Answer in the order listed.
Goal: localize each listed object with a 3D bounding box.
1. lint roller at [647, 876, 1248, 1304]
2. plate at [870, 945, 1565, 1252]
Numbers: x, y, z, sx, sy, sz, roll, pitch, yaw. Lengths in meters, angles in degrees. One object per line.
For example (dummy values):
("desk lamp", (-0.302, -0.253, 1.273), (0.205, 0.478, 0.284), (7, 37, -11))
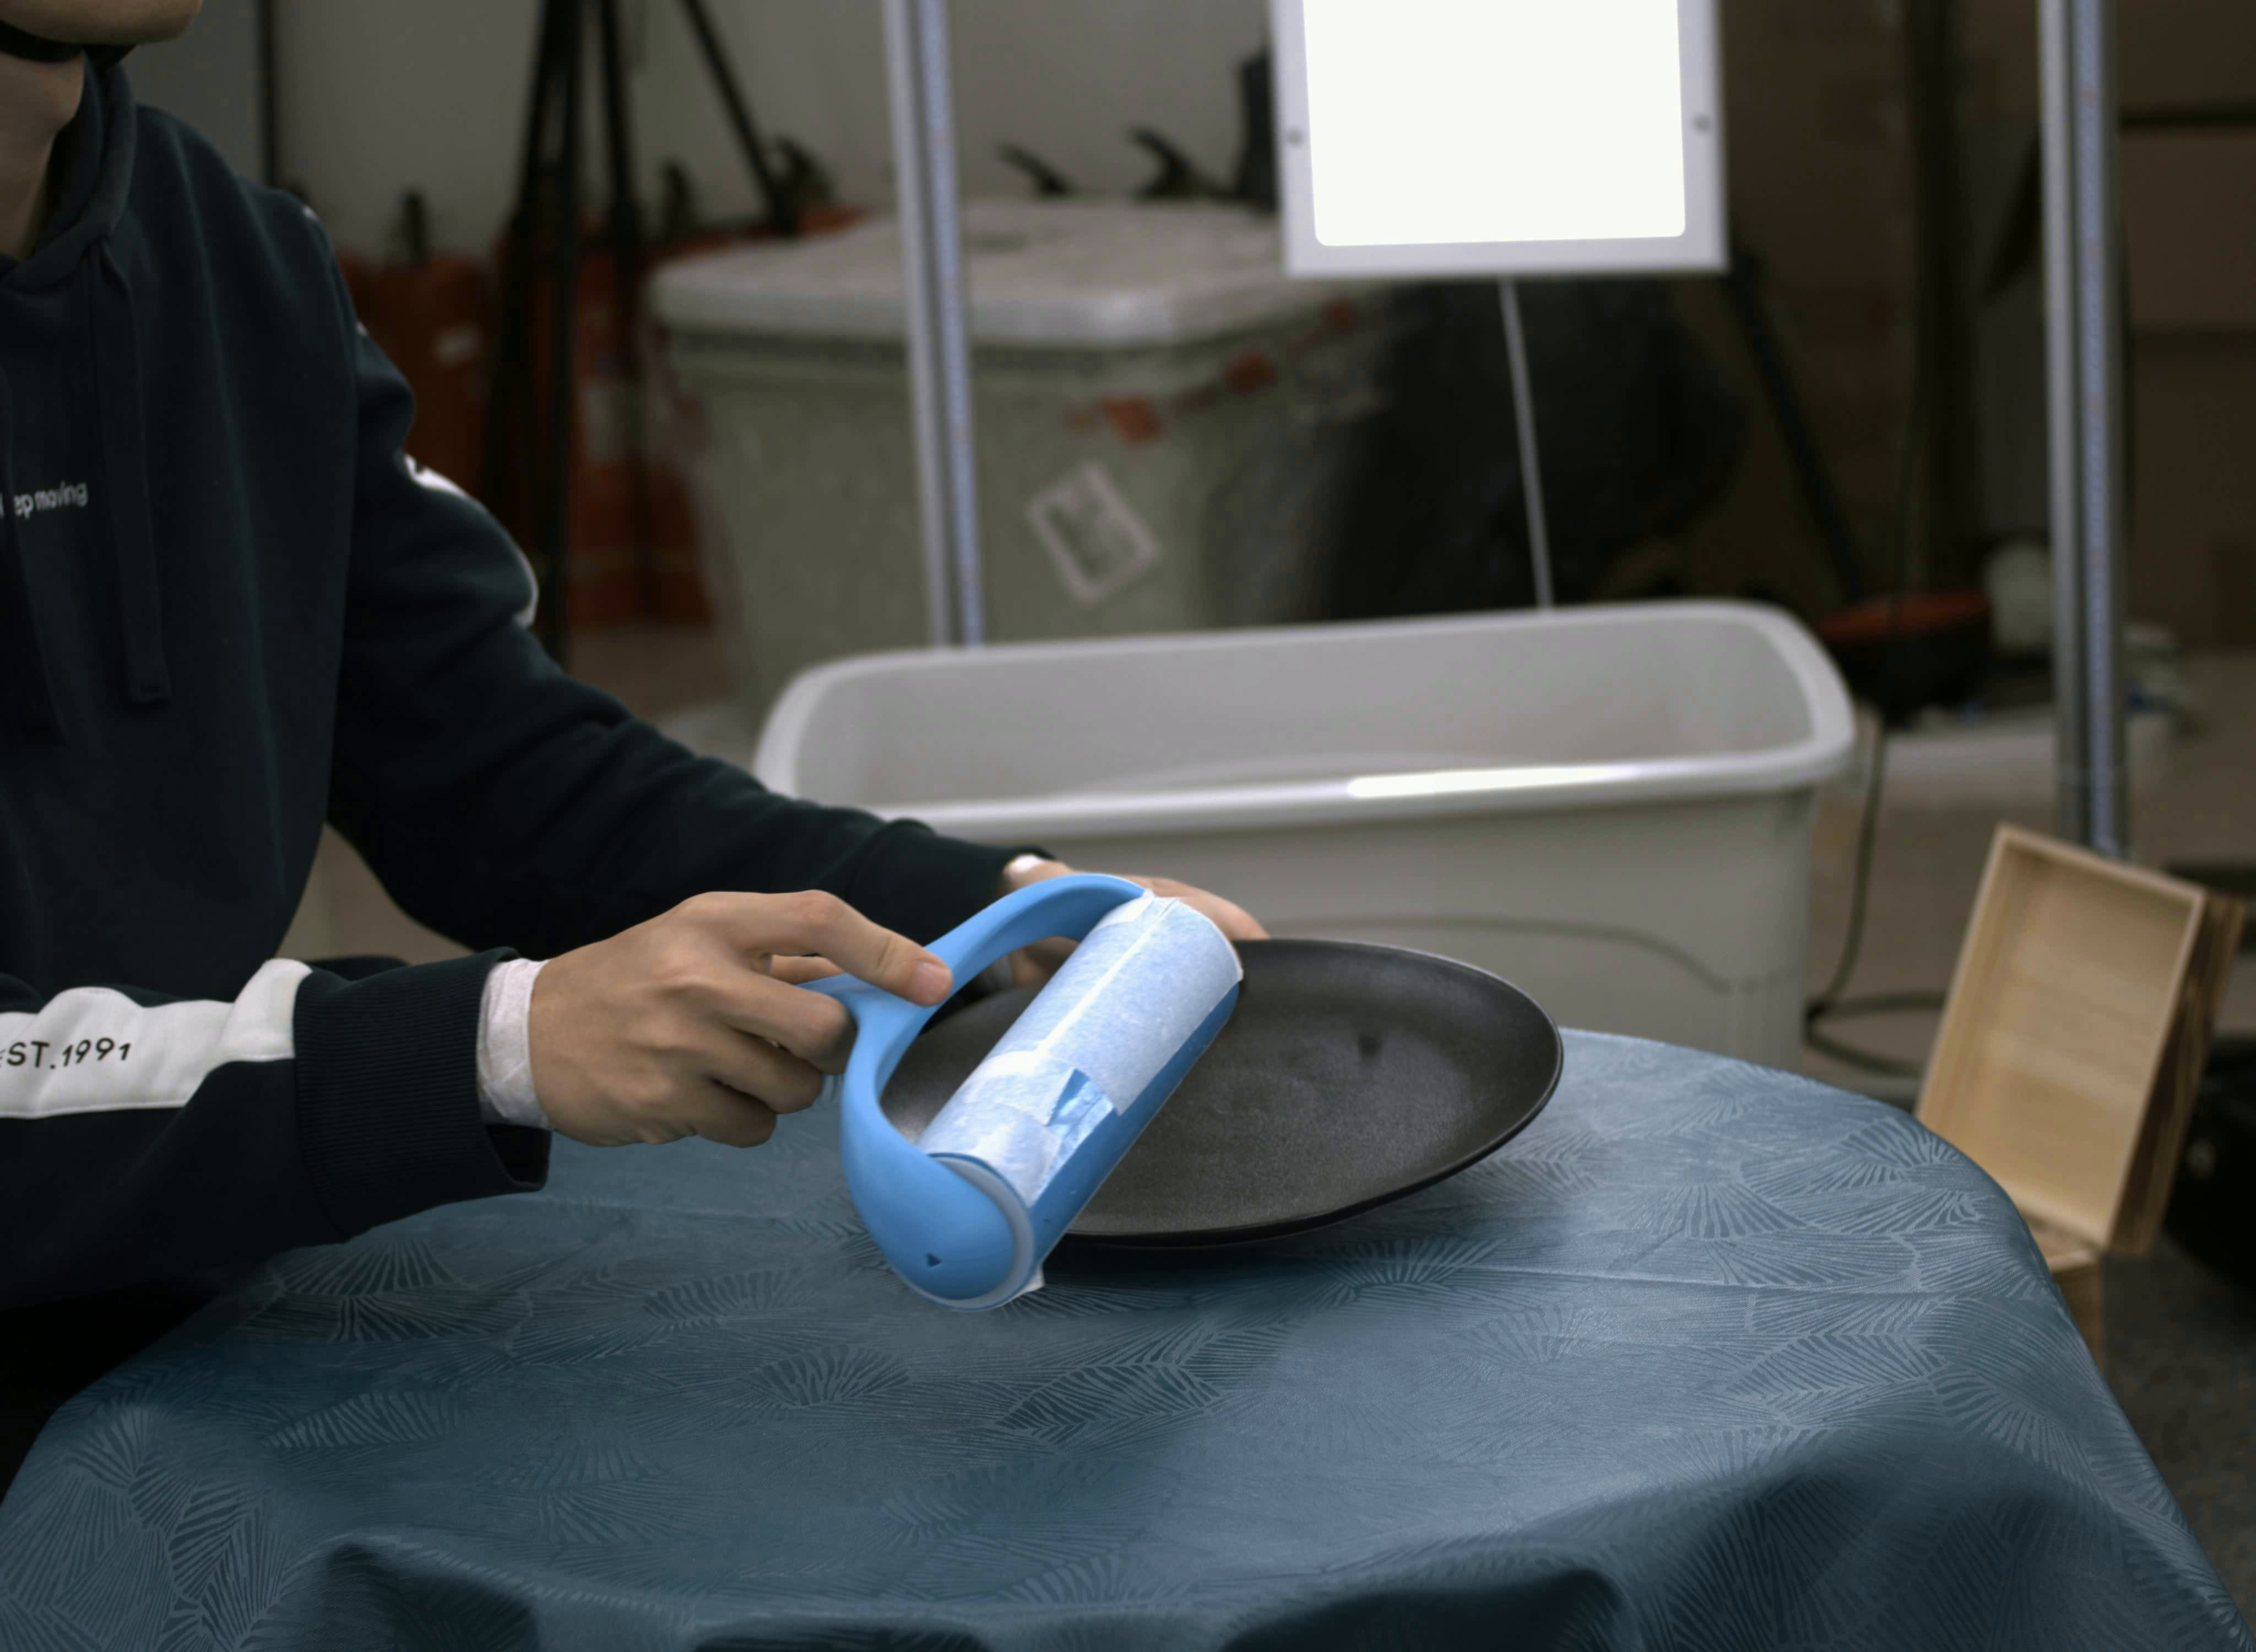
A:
("lint roller", (-0.072, 0.079, 1.752), (0.182, 0.068, 0.225), (3, 25, 17))
("plate", (0.032, 0.097, 1.906), (0.244, 0.023, 0.244), (-8, 21, 2))
